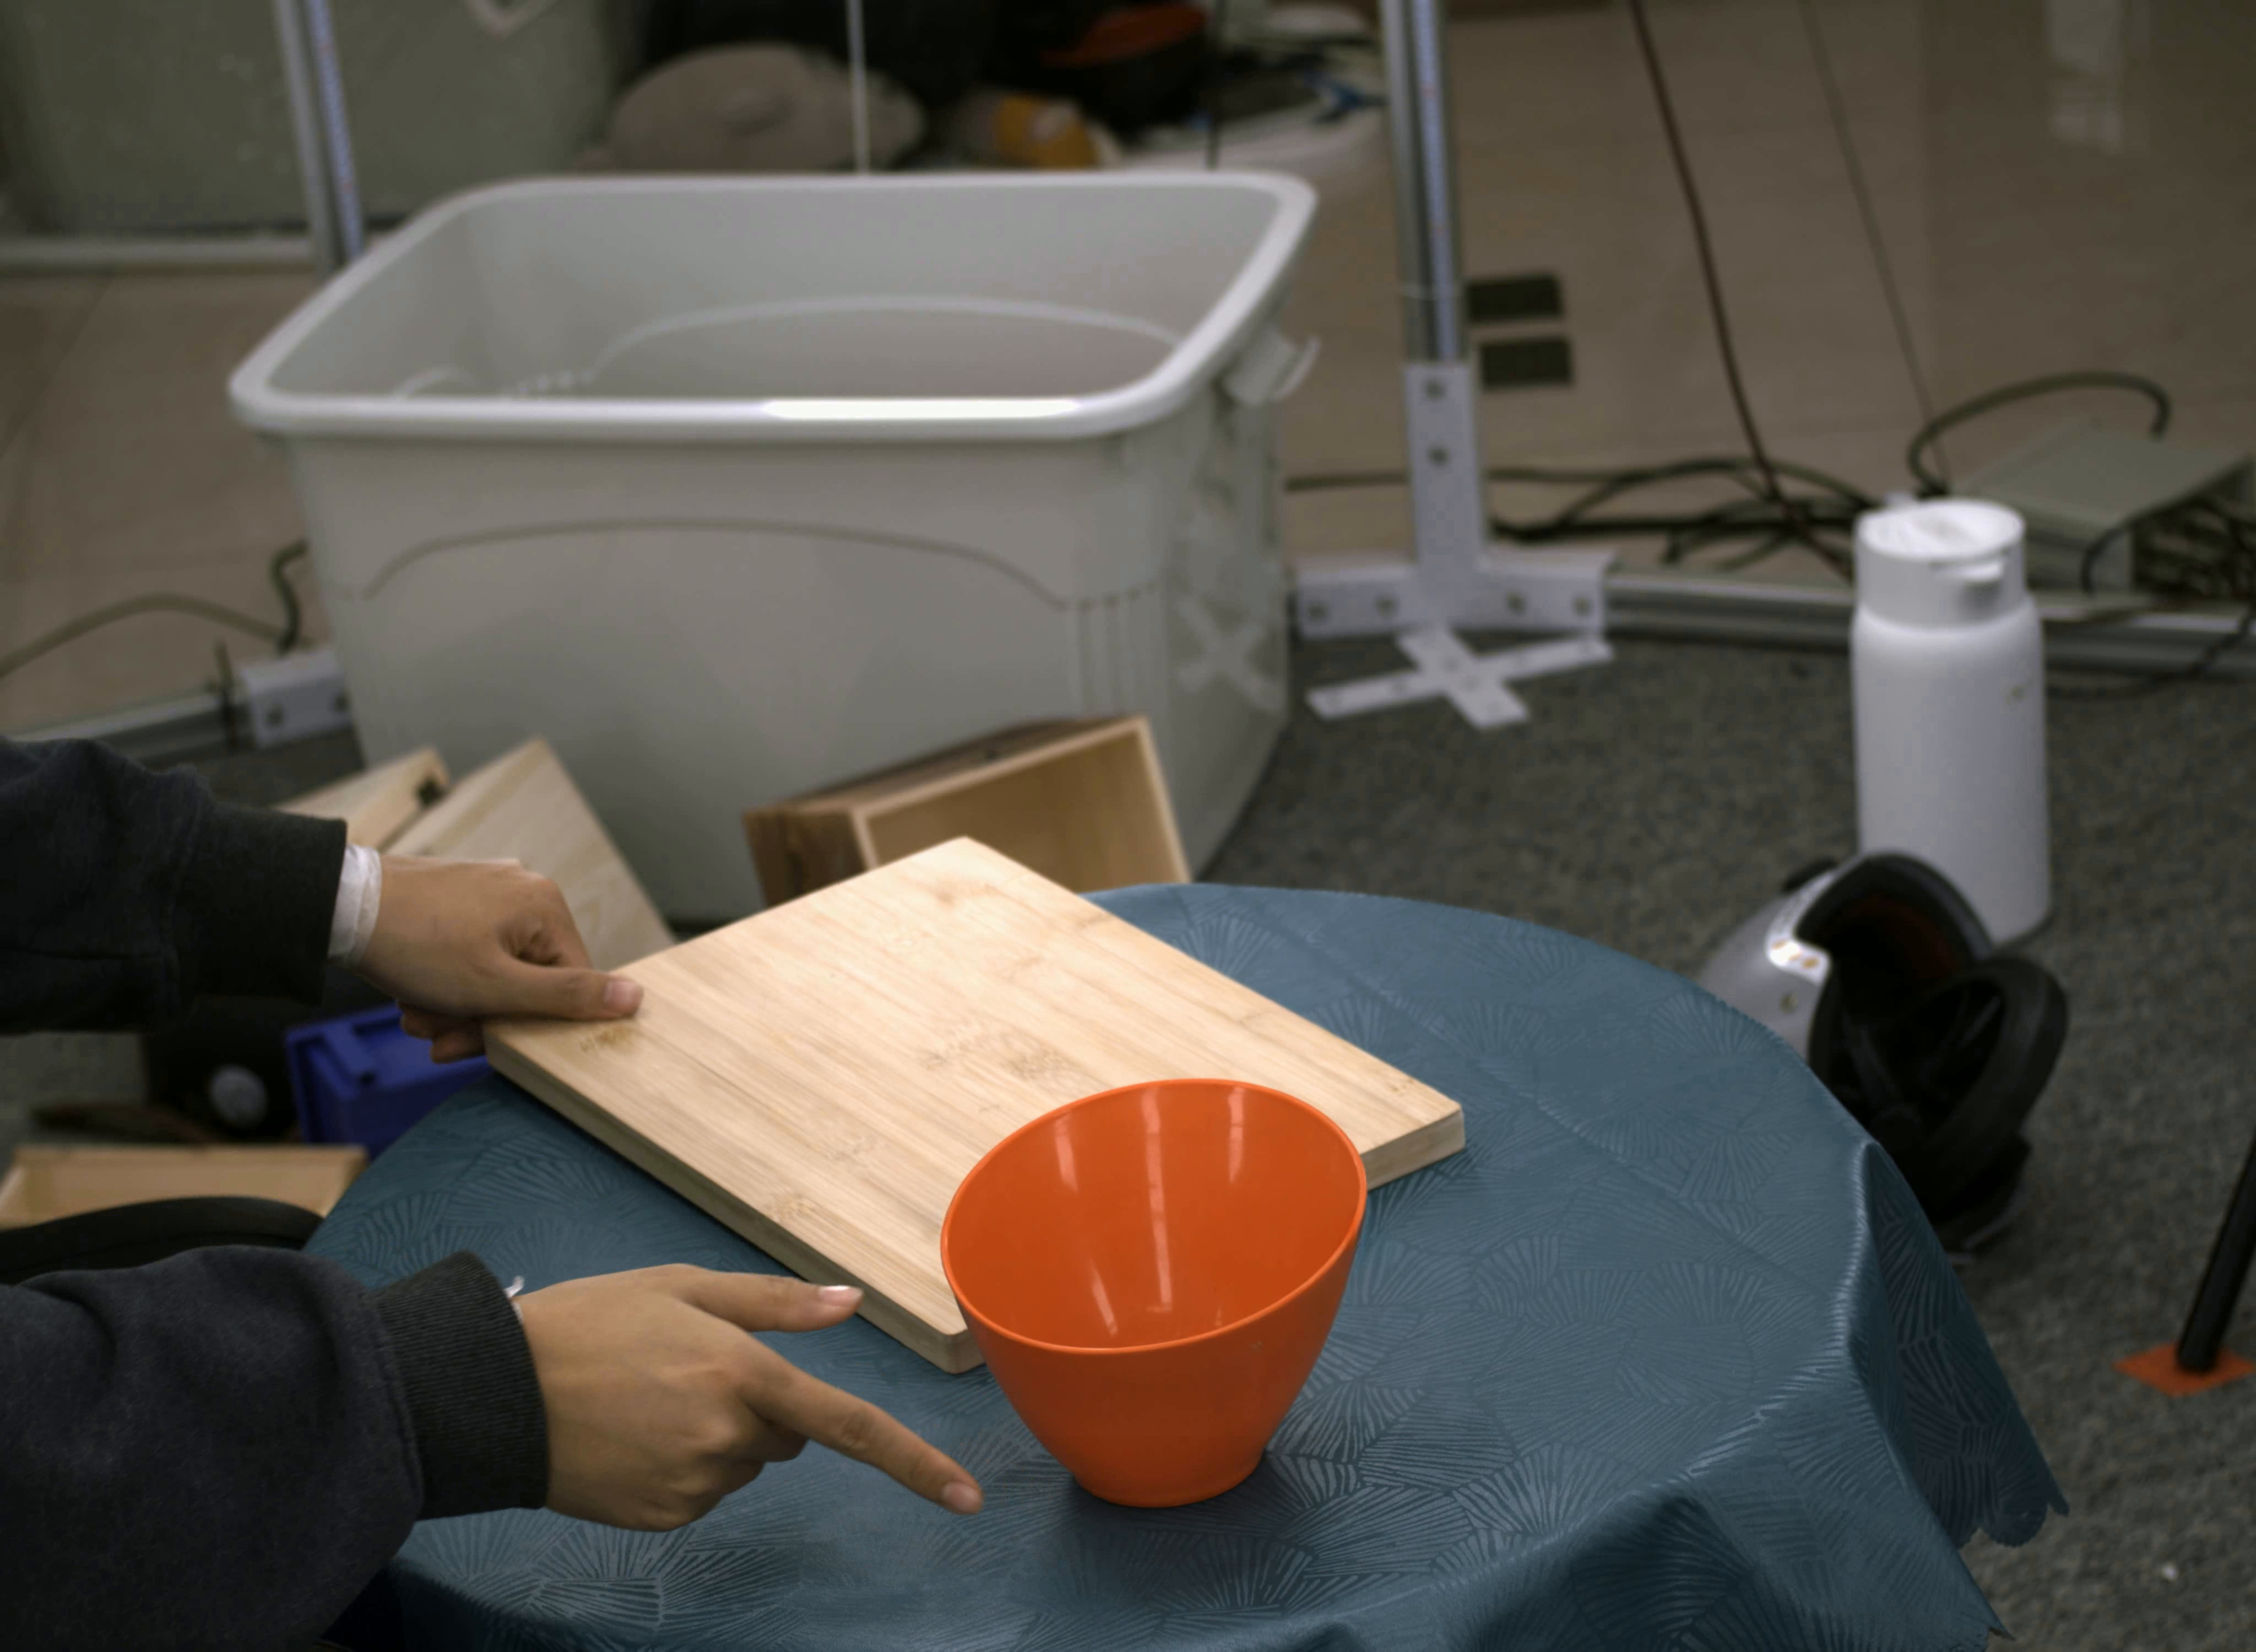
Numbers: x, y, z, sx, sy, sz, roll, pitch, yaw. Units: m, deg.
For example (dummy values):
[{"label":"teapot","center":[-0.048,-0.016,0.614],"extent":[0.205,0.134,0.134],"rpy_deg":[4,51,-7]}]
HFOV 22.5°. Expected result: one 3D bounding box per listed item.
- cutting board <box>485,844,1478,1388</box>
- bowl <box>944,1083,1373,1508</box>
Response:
[{"label":"cutting board","center":[-0.063,0.104,2.211],"extent":[0.249,0.024,0.345],"rpy_deg":[-23,30,-30]},{"label":"bowl","center":[0.012,0.168,1.957],"extent":[0.148,0.106,0.146],"rpy_deg":[-3,26,1]}]
